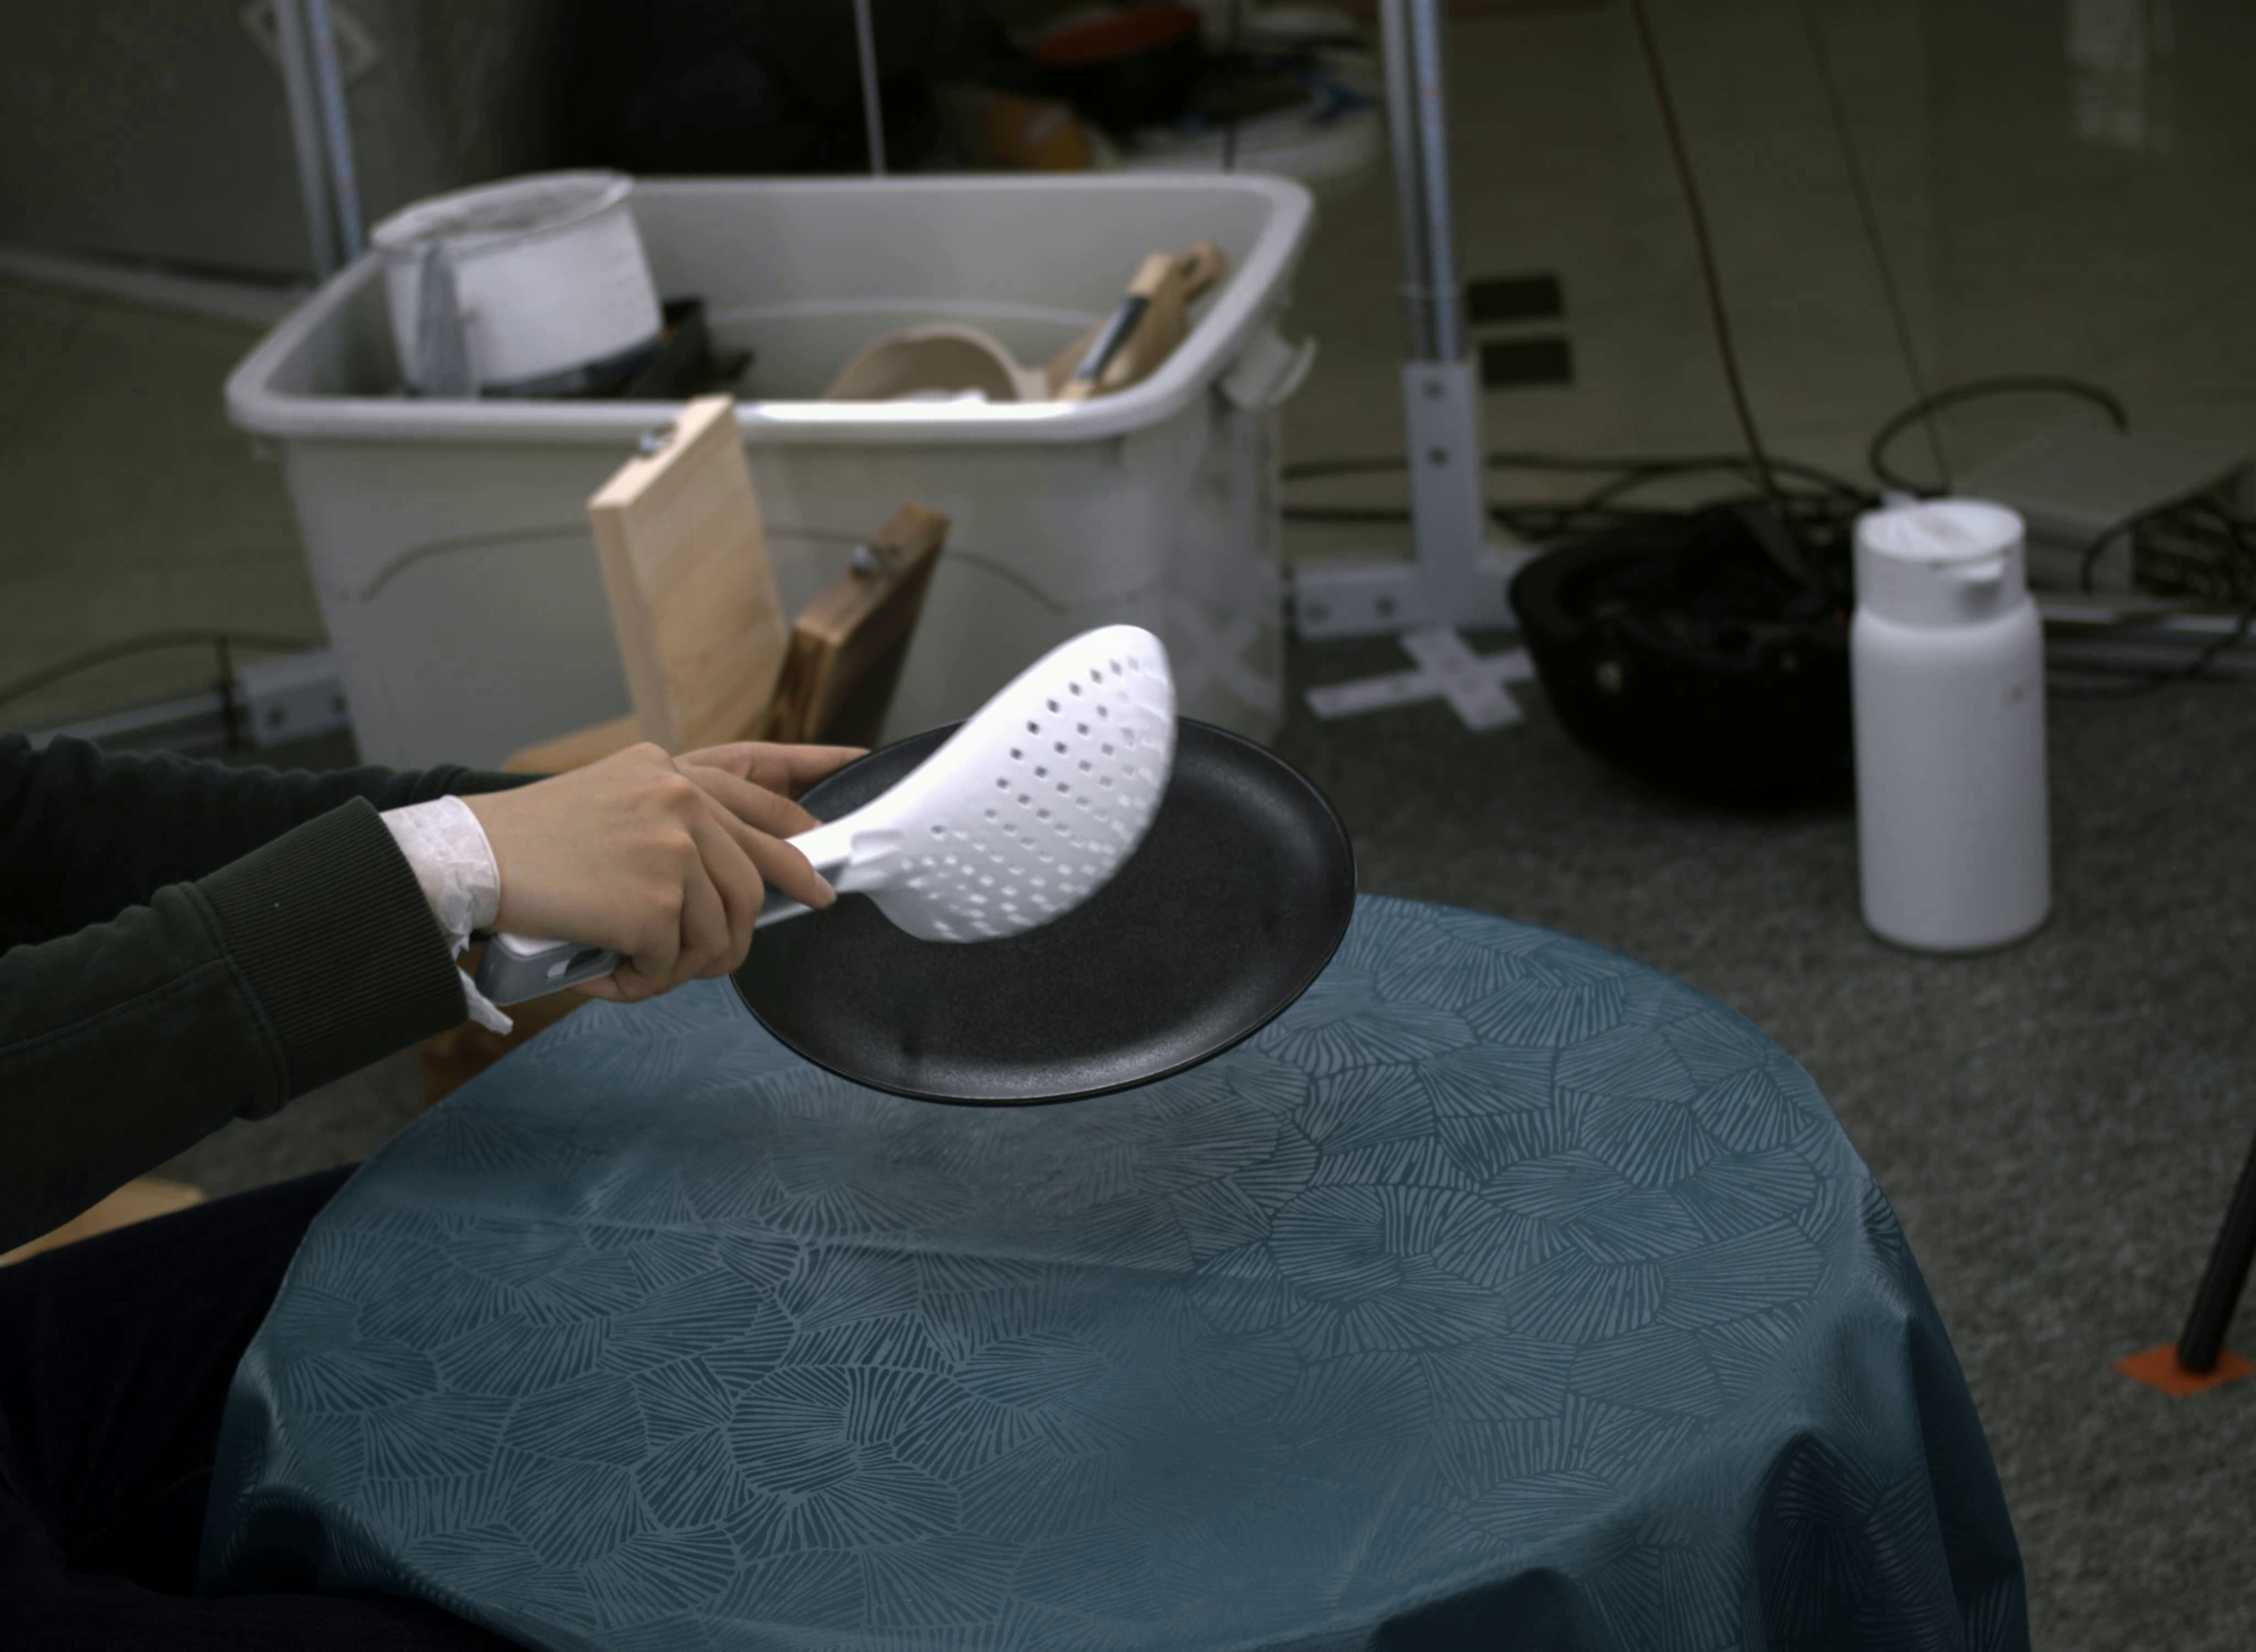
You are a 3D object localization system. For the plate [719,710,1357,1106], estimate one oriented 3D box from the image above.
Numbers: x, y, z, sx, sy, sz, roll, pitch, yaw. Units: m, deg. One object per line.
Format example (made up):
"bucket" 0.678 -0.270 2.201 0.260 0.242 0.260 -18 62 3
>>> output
"plate" -0.034 0.034 2.150 0.244 0.024 0.240 -4 38 3

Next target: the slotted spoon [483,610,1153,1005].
"slotted spoon" -0.097 0.007 1.927 0.045 0.138 0.348 40 33 27
